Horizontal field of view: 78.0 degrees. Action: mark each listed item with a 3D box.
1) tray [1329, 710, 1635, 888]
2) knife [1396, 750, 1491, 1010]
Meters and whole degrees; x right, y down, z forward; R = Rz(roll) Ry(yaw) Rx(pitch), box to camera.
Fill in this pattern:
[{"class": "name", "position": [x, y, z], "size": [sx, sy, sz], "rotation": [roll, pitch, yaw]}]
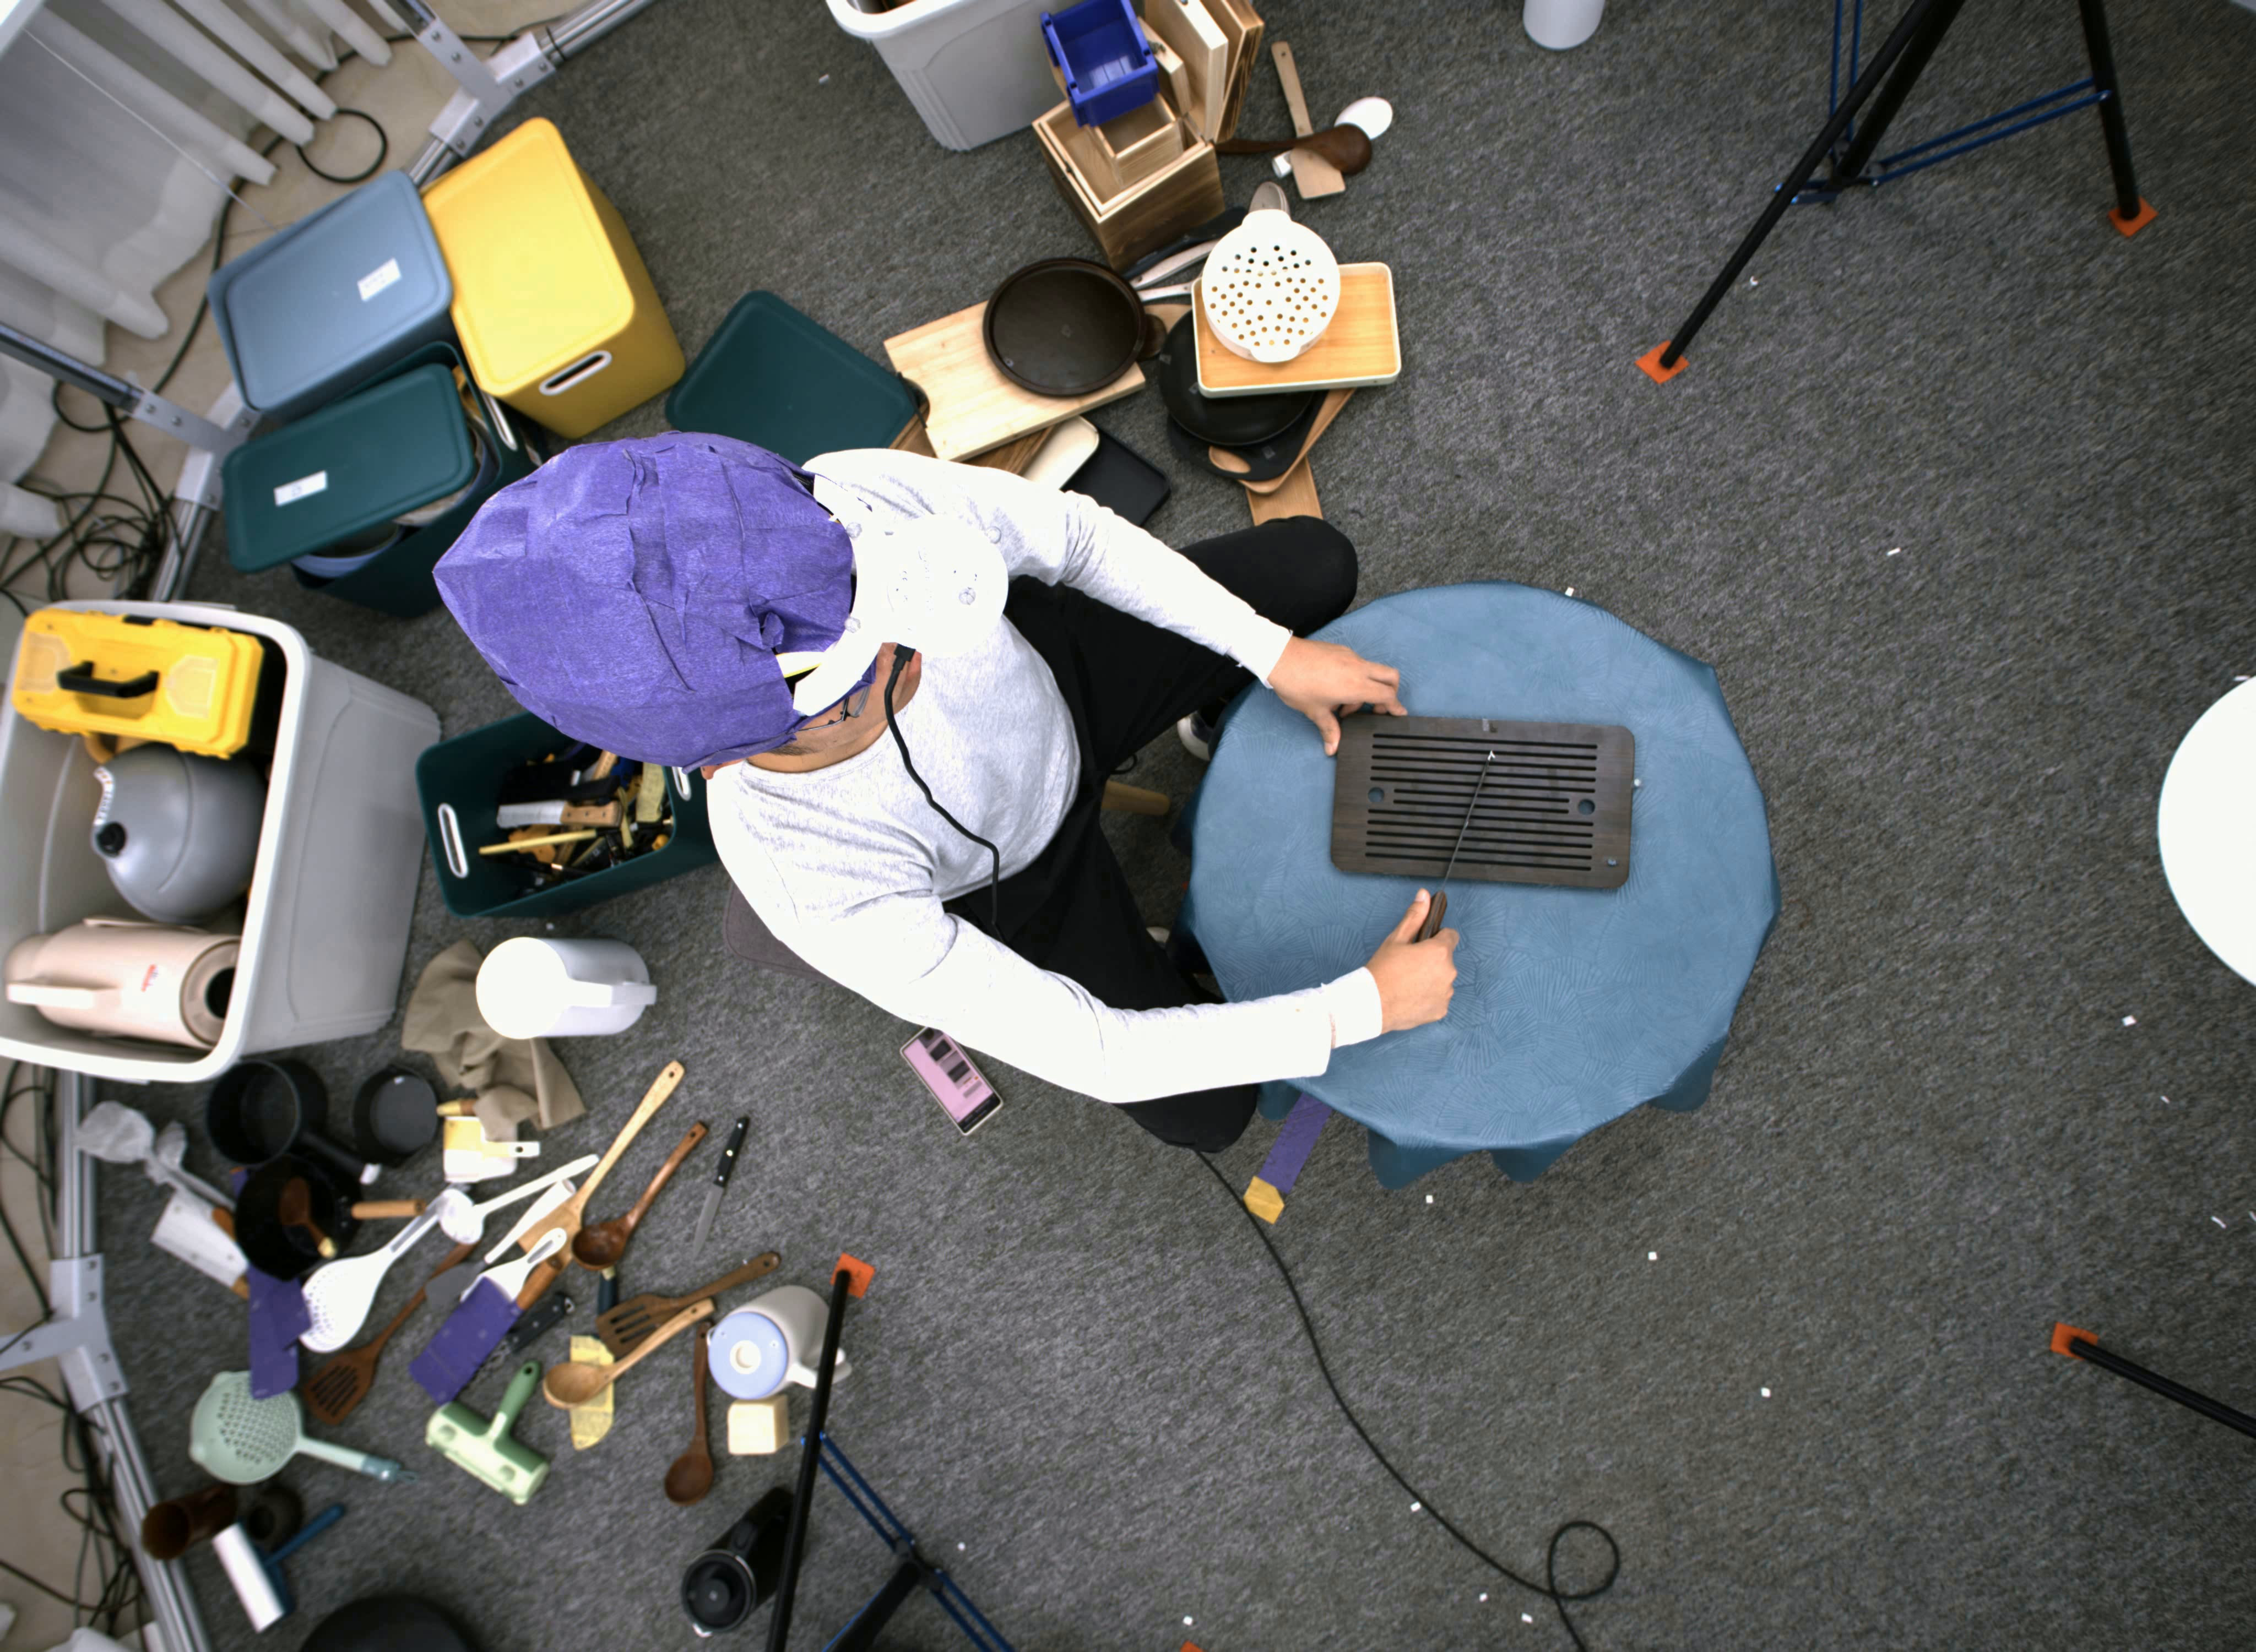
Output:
[{"class": "tray", "position": [0.368, -0.032, 1.438], "size": [0.307, 0.018, 0.169], "rotation": [4, 88, 11]}, {"class": "knife", "position": [0.326, 0.050, 1.400], "size": [0.020, 0.051, 0.286], "rotation": [20, 81, 10]}]
